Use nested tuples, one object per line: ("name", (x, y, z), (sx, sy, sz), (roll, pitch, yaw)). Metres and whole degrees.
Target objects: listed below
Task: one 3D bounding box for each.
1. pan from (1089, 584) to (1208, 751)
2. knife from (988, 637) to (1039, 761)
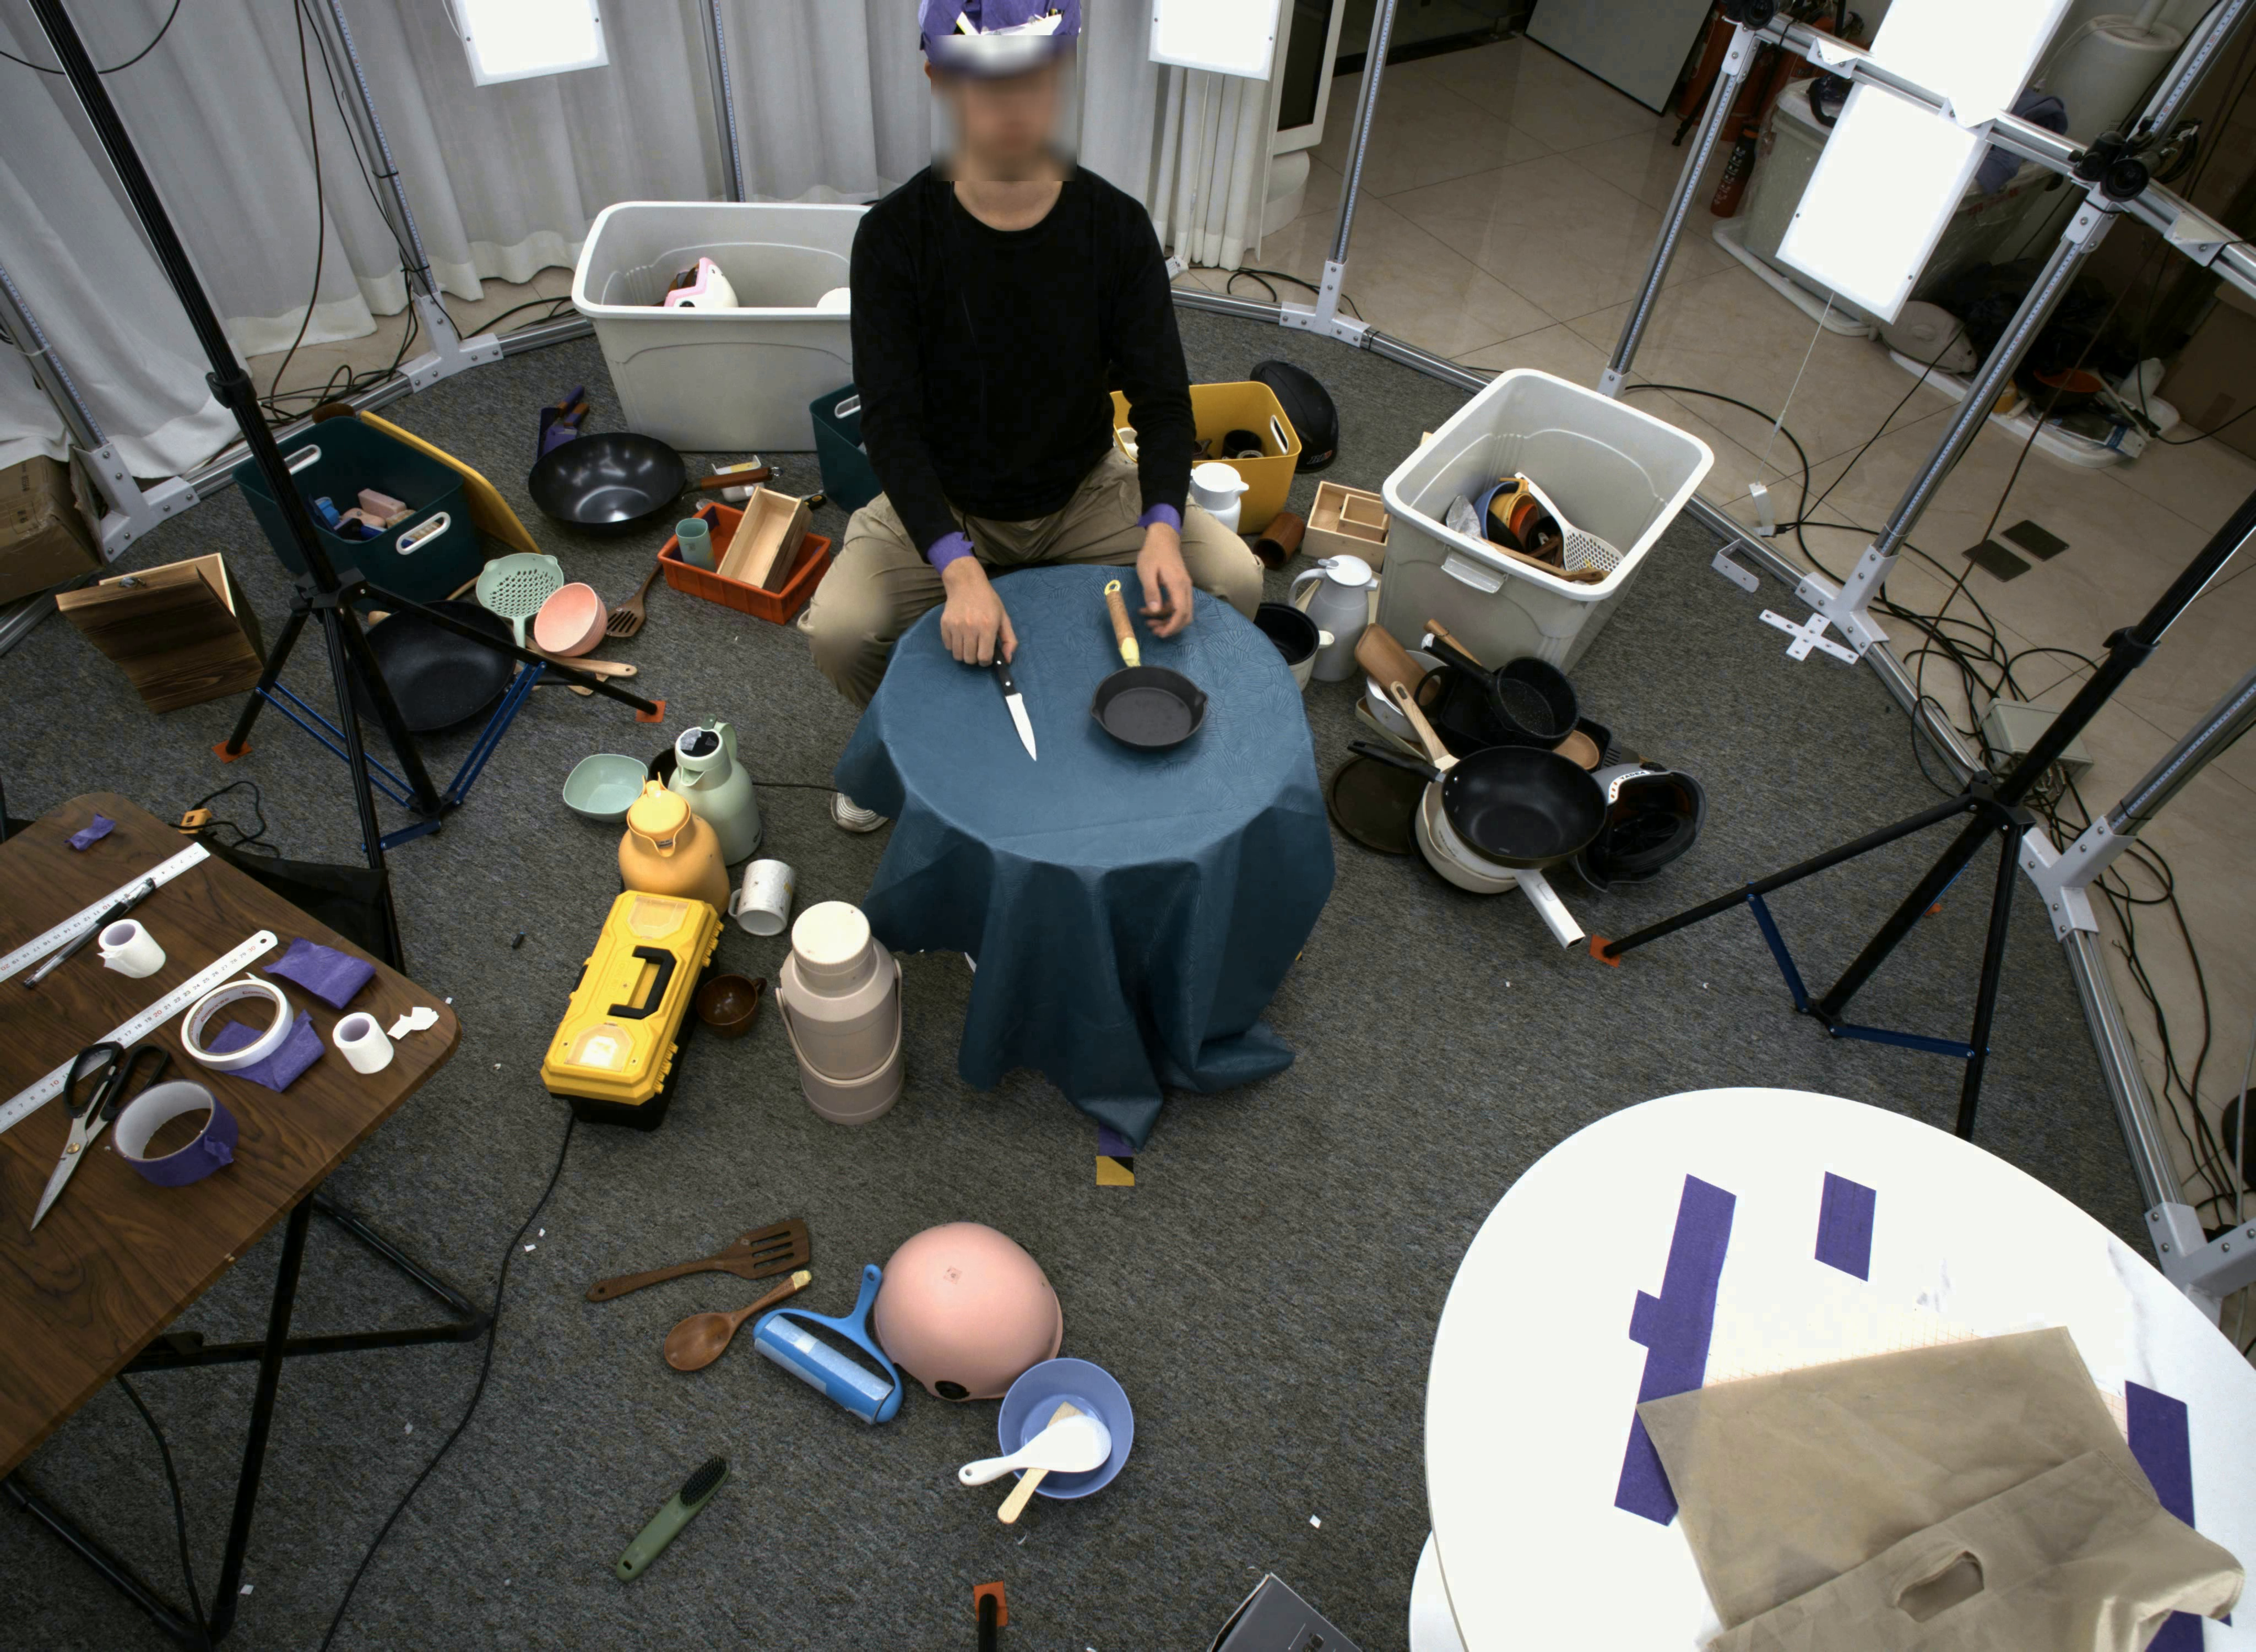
("pan", (0.012, -0.228, 1.838), (0.169, 0.048, 0.332), (-7, 49, -9))
("knife", (-0.162, -0.180, 1.809), (0.024, 0.016, 0.244), (-10, 53, -17))
